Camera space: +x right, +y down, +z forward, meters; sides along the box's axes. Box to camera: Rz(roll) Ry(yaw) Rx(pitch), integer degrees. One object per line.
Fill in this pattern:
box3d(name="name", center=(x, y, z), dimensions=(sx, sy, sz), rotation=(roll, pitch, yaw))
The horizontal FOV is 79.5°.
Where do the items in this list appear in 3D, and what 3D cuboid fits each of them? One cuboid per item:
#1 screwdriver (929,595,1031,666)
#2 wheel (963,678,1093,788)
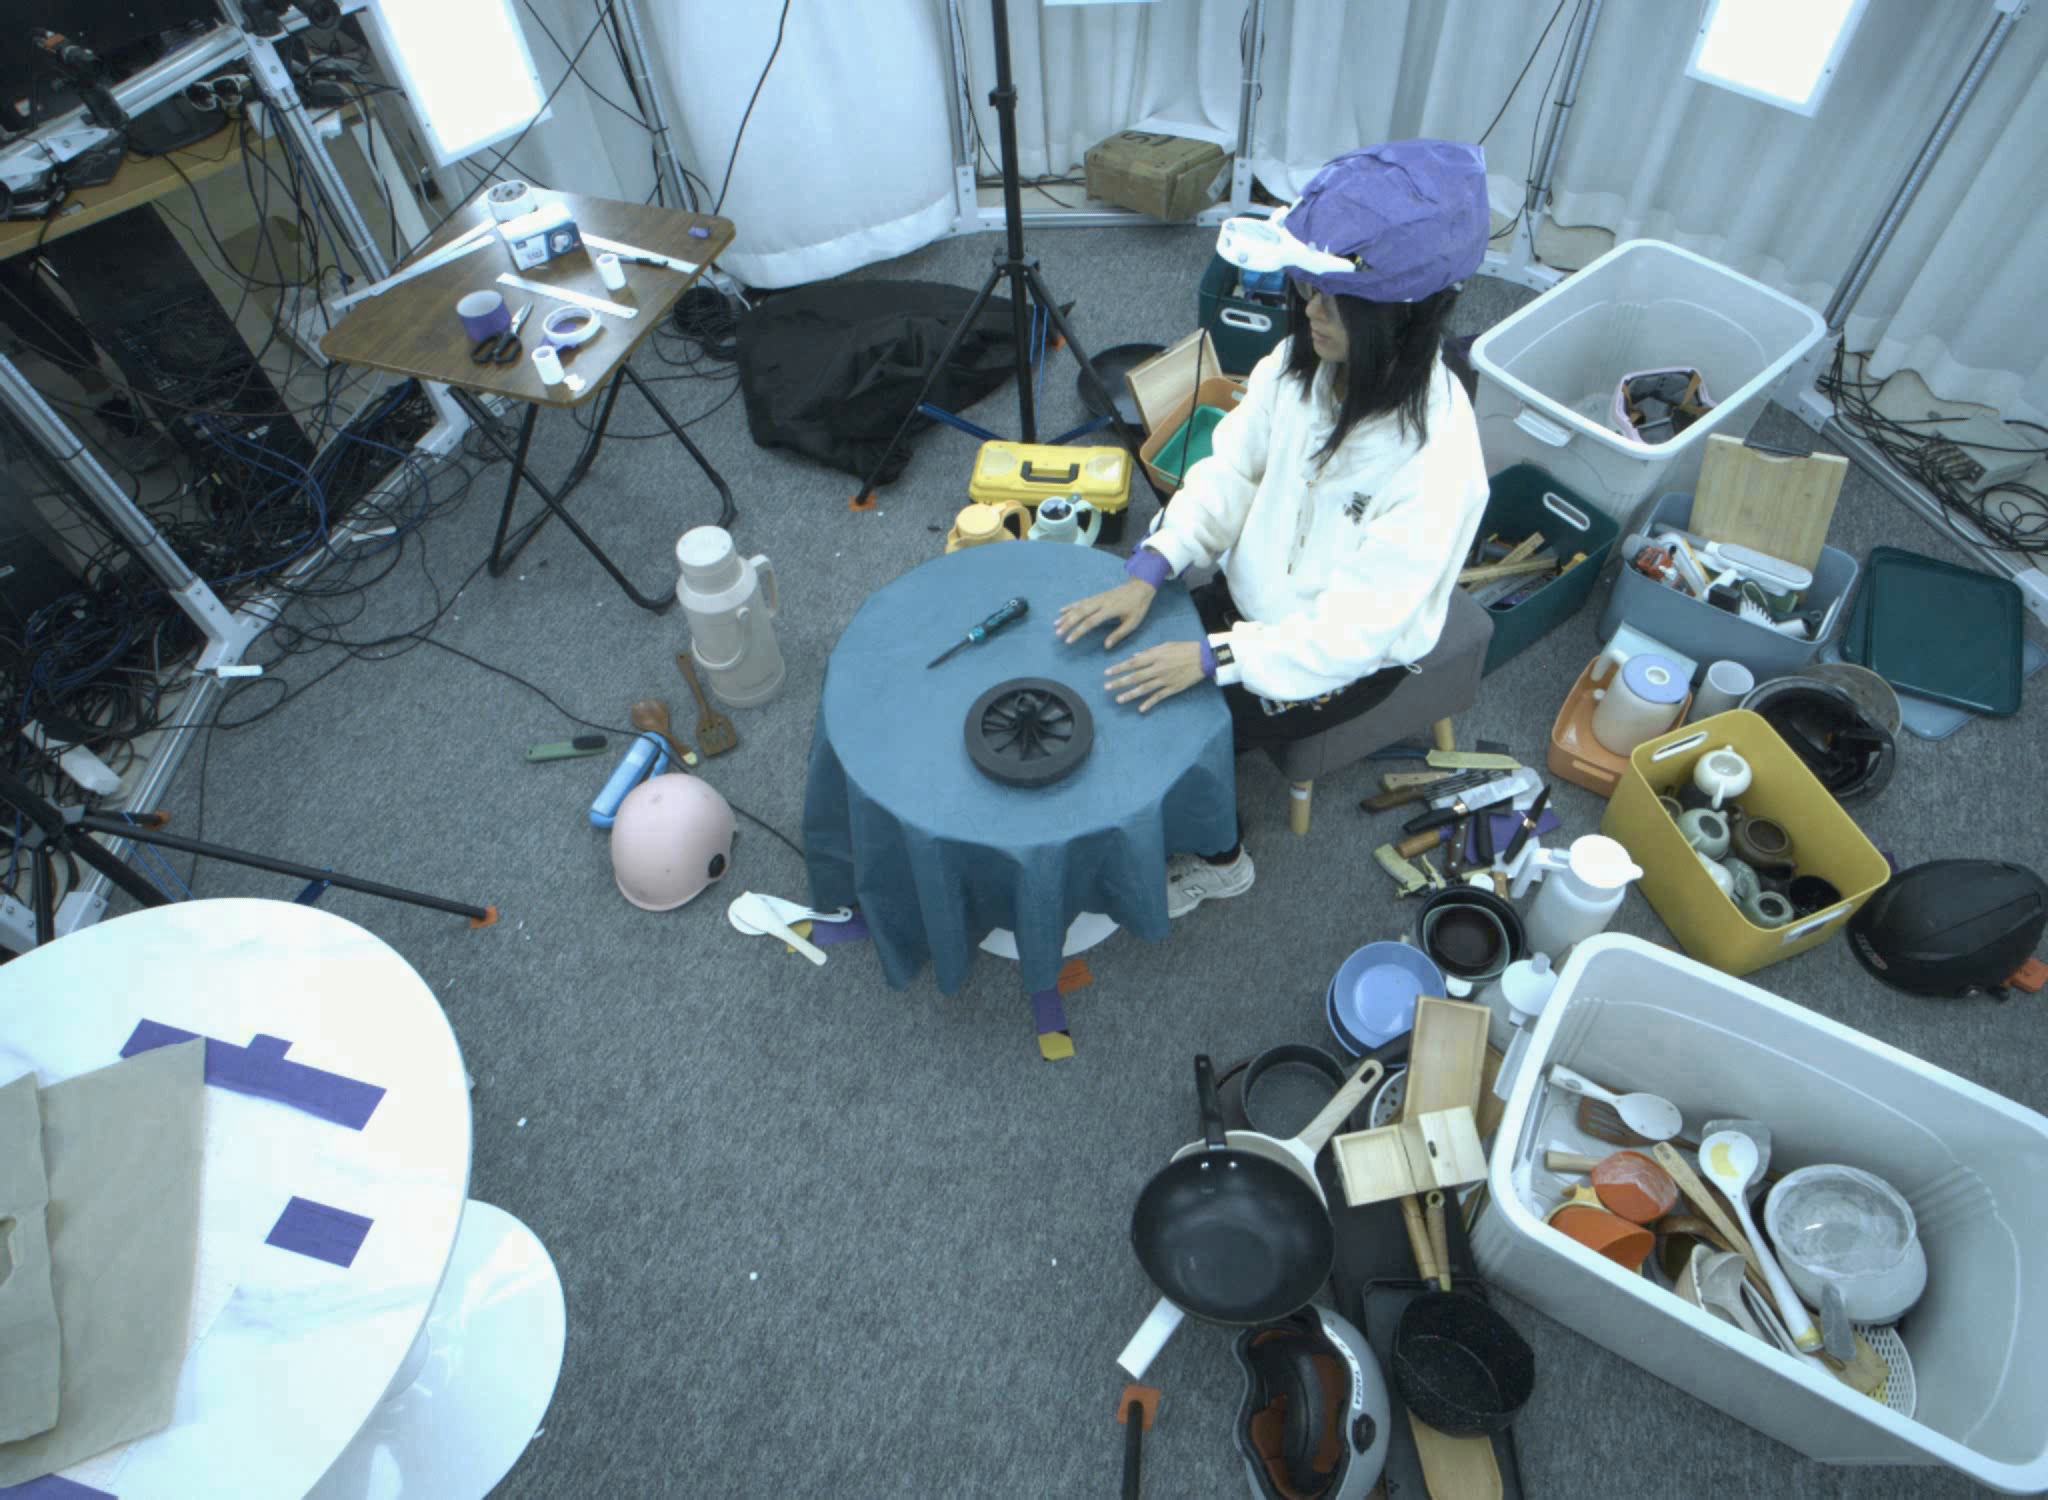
box3d(name="screwdriver", center=(-0.071, -0.182, 1.906), dimensions=(0.191, 0.034, 0.033), rotation=(-36, 61, -15))
box3d(name="wheel", center=(0.003, -0.039, 1.770), dimensions=(0.189, 0.080, 0.185), rotation=(-7, 55, 3))
